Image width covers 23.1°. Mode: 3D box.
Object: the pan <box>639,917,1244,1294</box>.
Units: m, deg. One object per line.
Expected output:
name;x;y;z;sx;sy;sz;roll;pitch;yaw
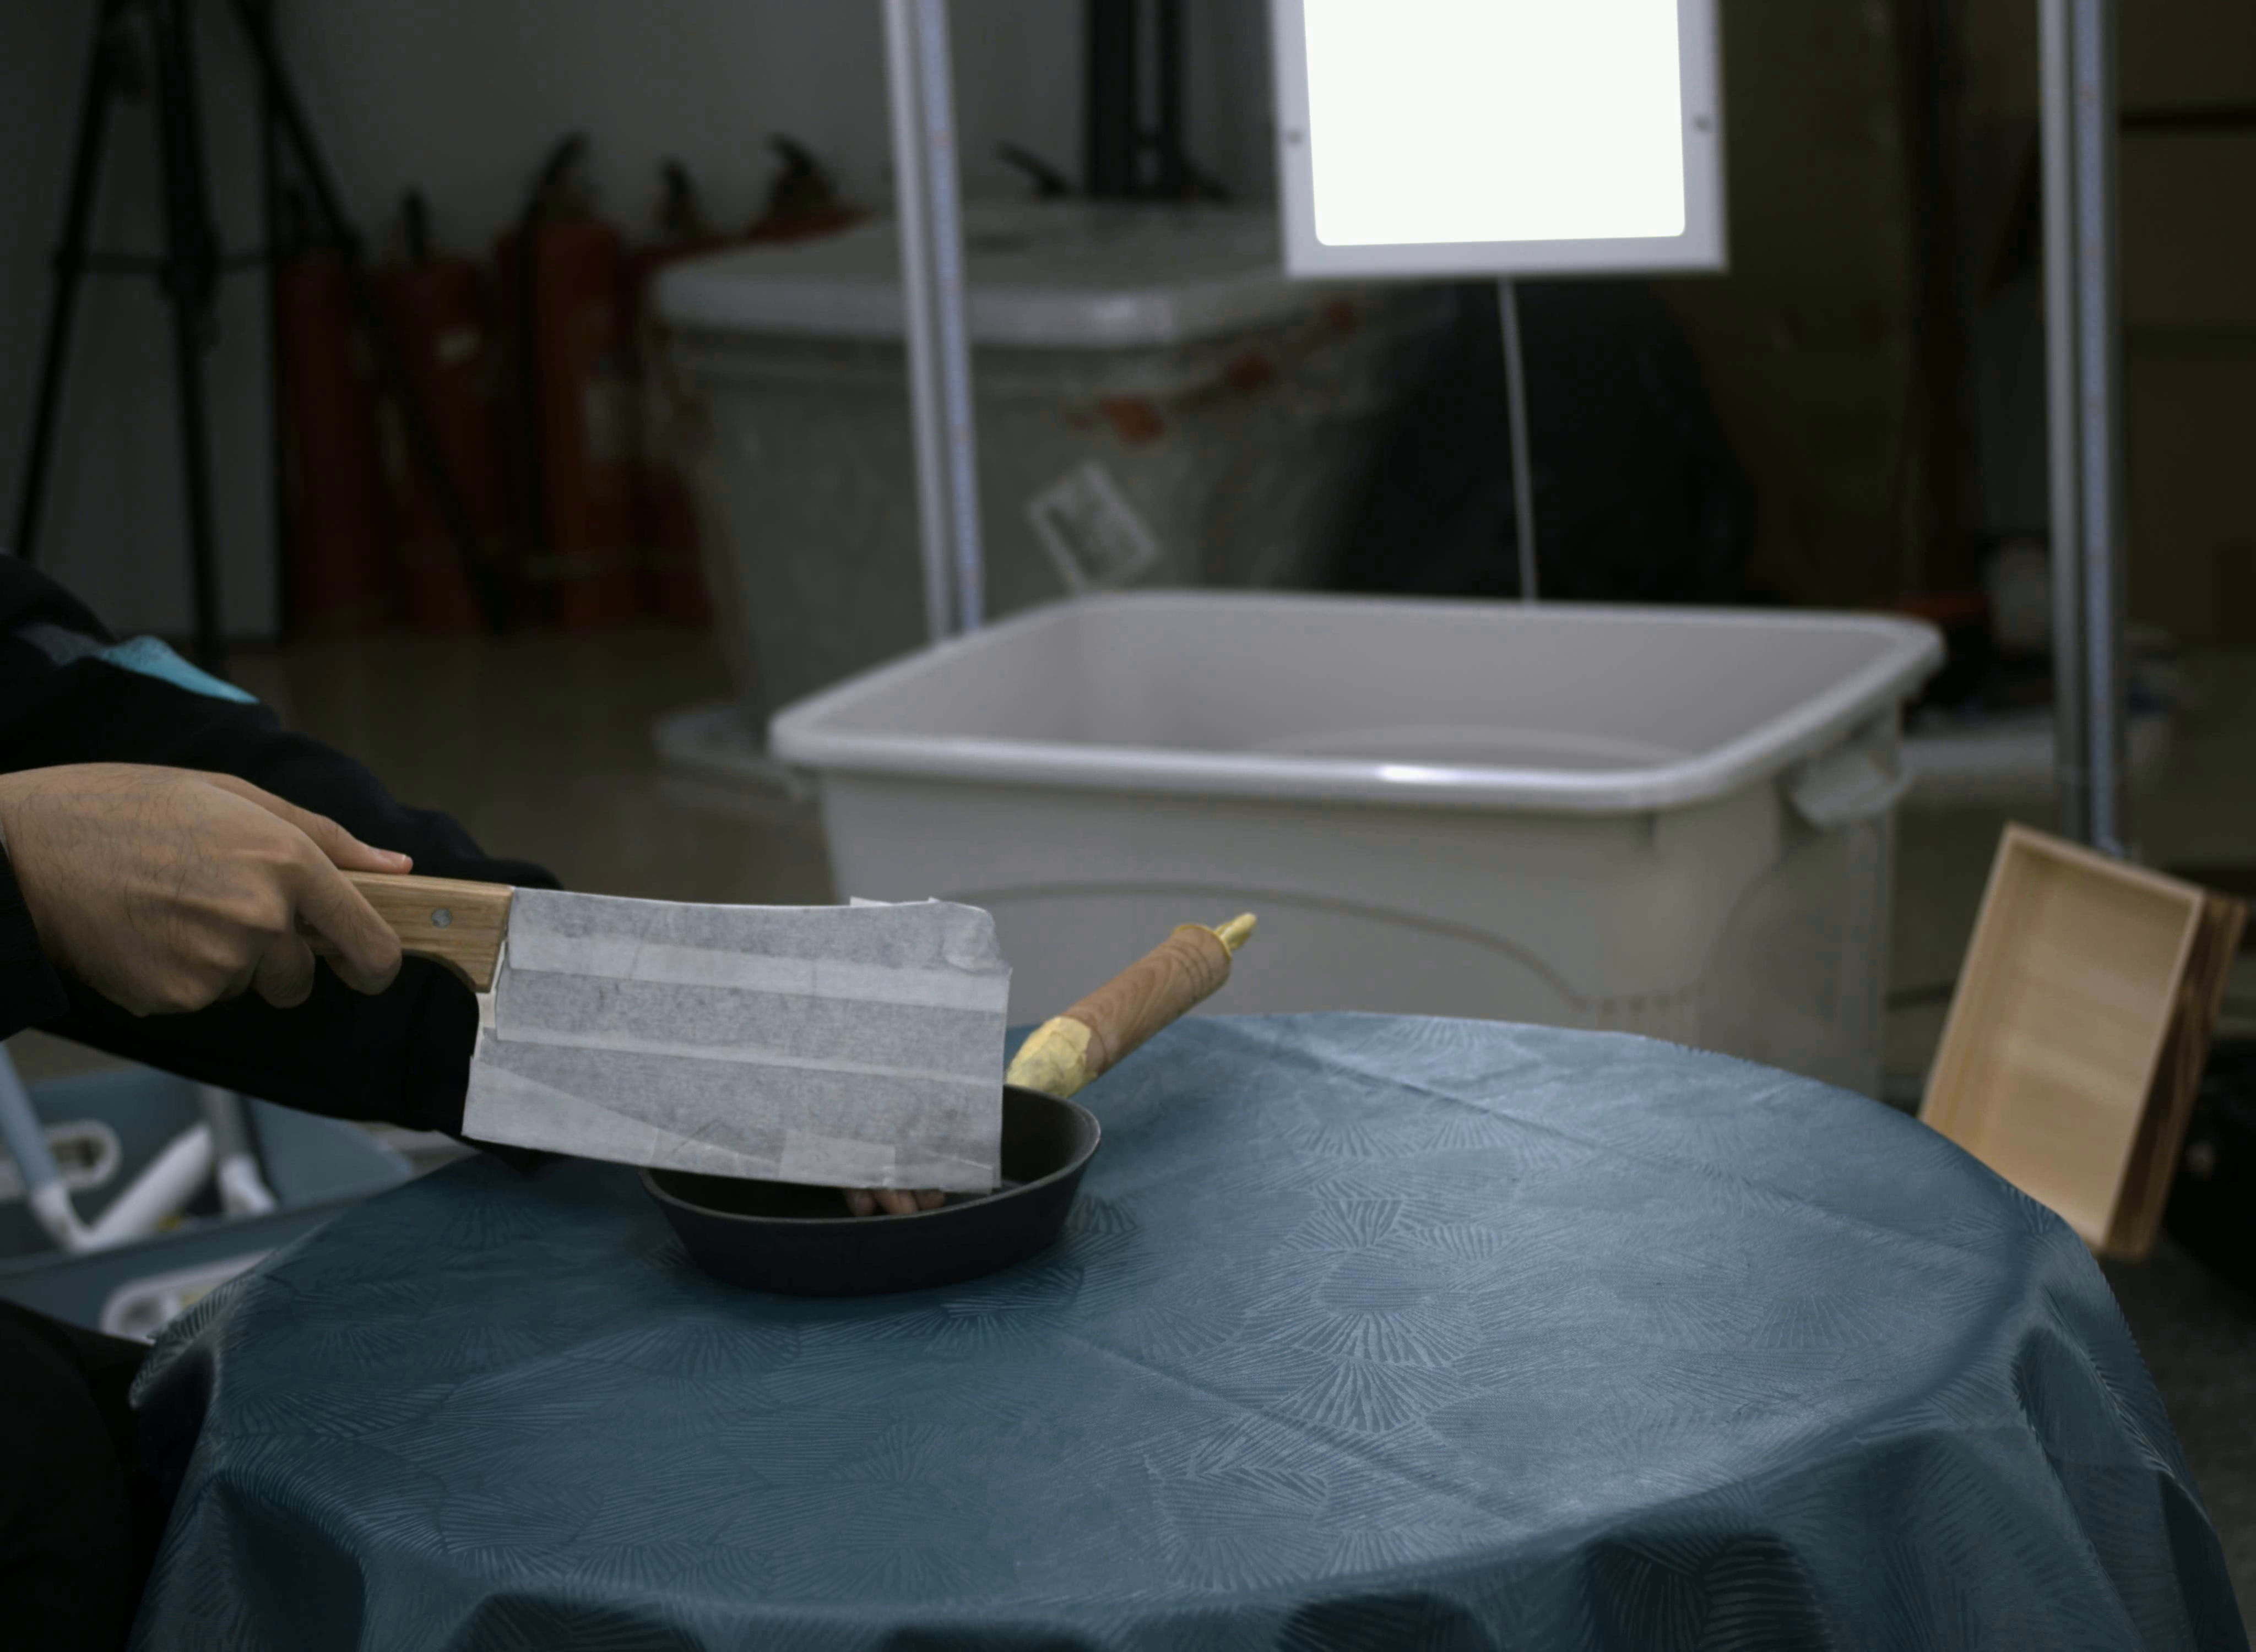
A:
pan;-0.042;0.096;1.932;0.172;0.050;0.316;3;17;34

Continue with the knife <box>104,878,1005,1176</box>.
knife;-0.186;0.055;1.851;0.311;0.114;0.022;10;1;-12
